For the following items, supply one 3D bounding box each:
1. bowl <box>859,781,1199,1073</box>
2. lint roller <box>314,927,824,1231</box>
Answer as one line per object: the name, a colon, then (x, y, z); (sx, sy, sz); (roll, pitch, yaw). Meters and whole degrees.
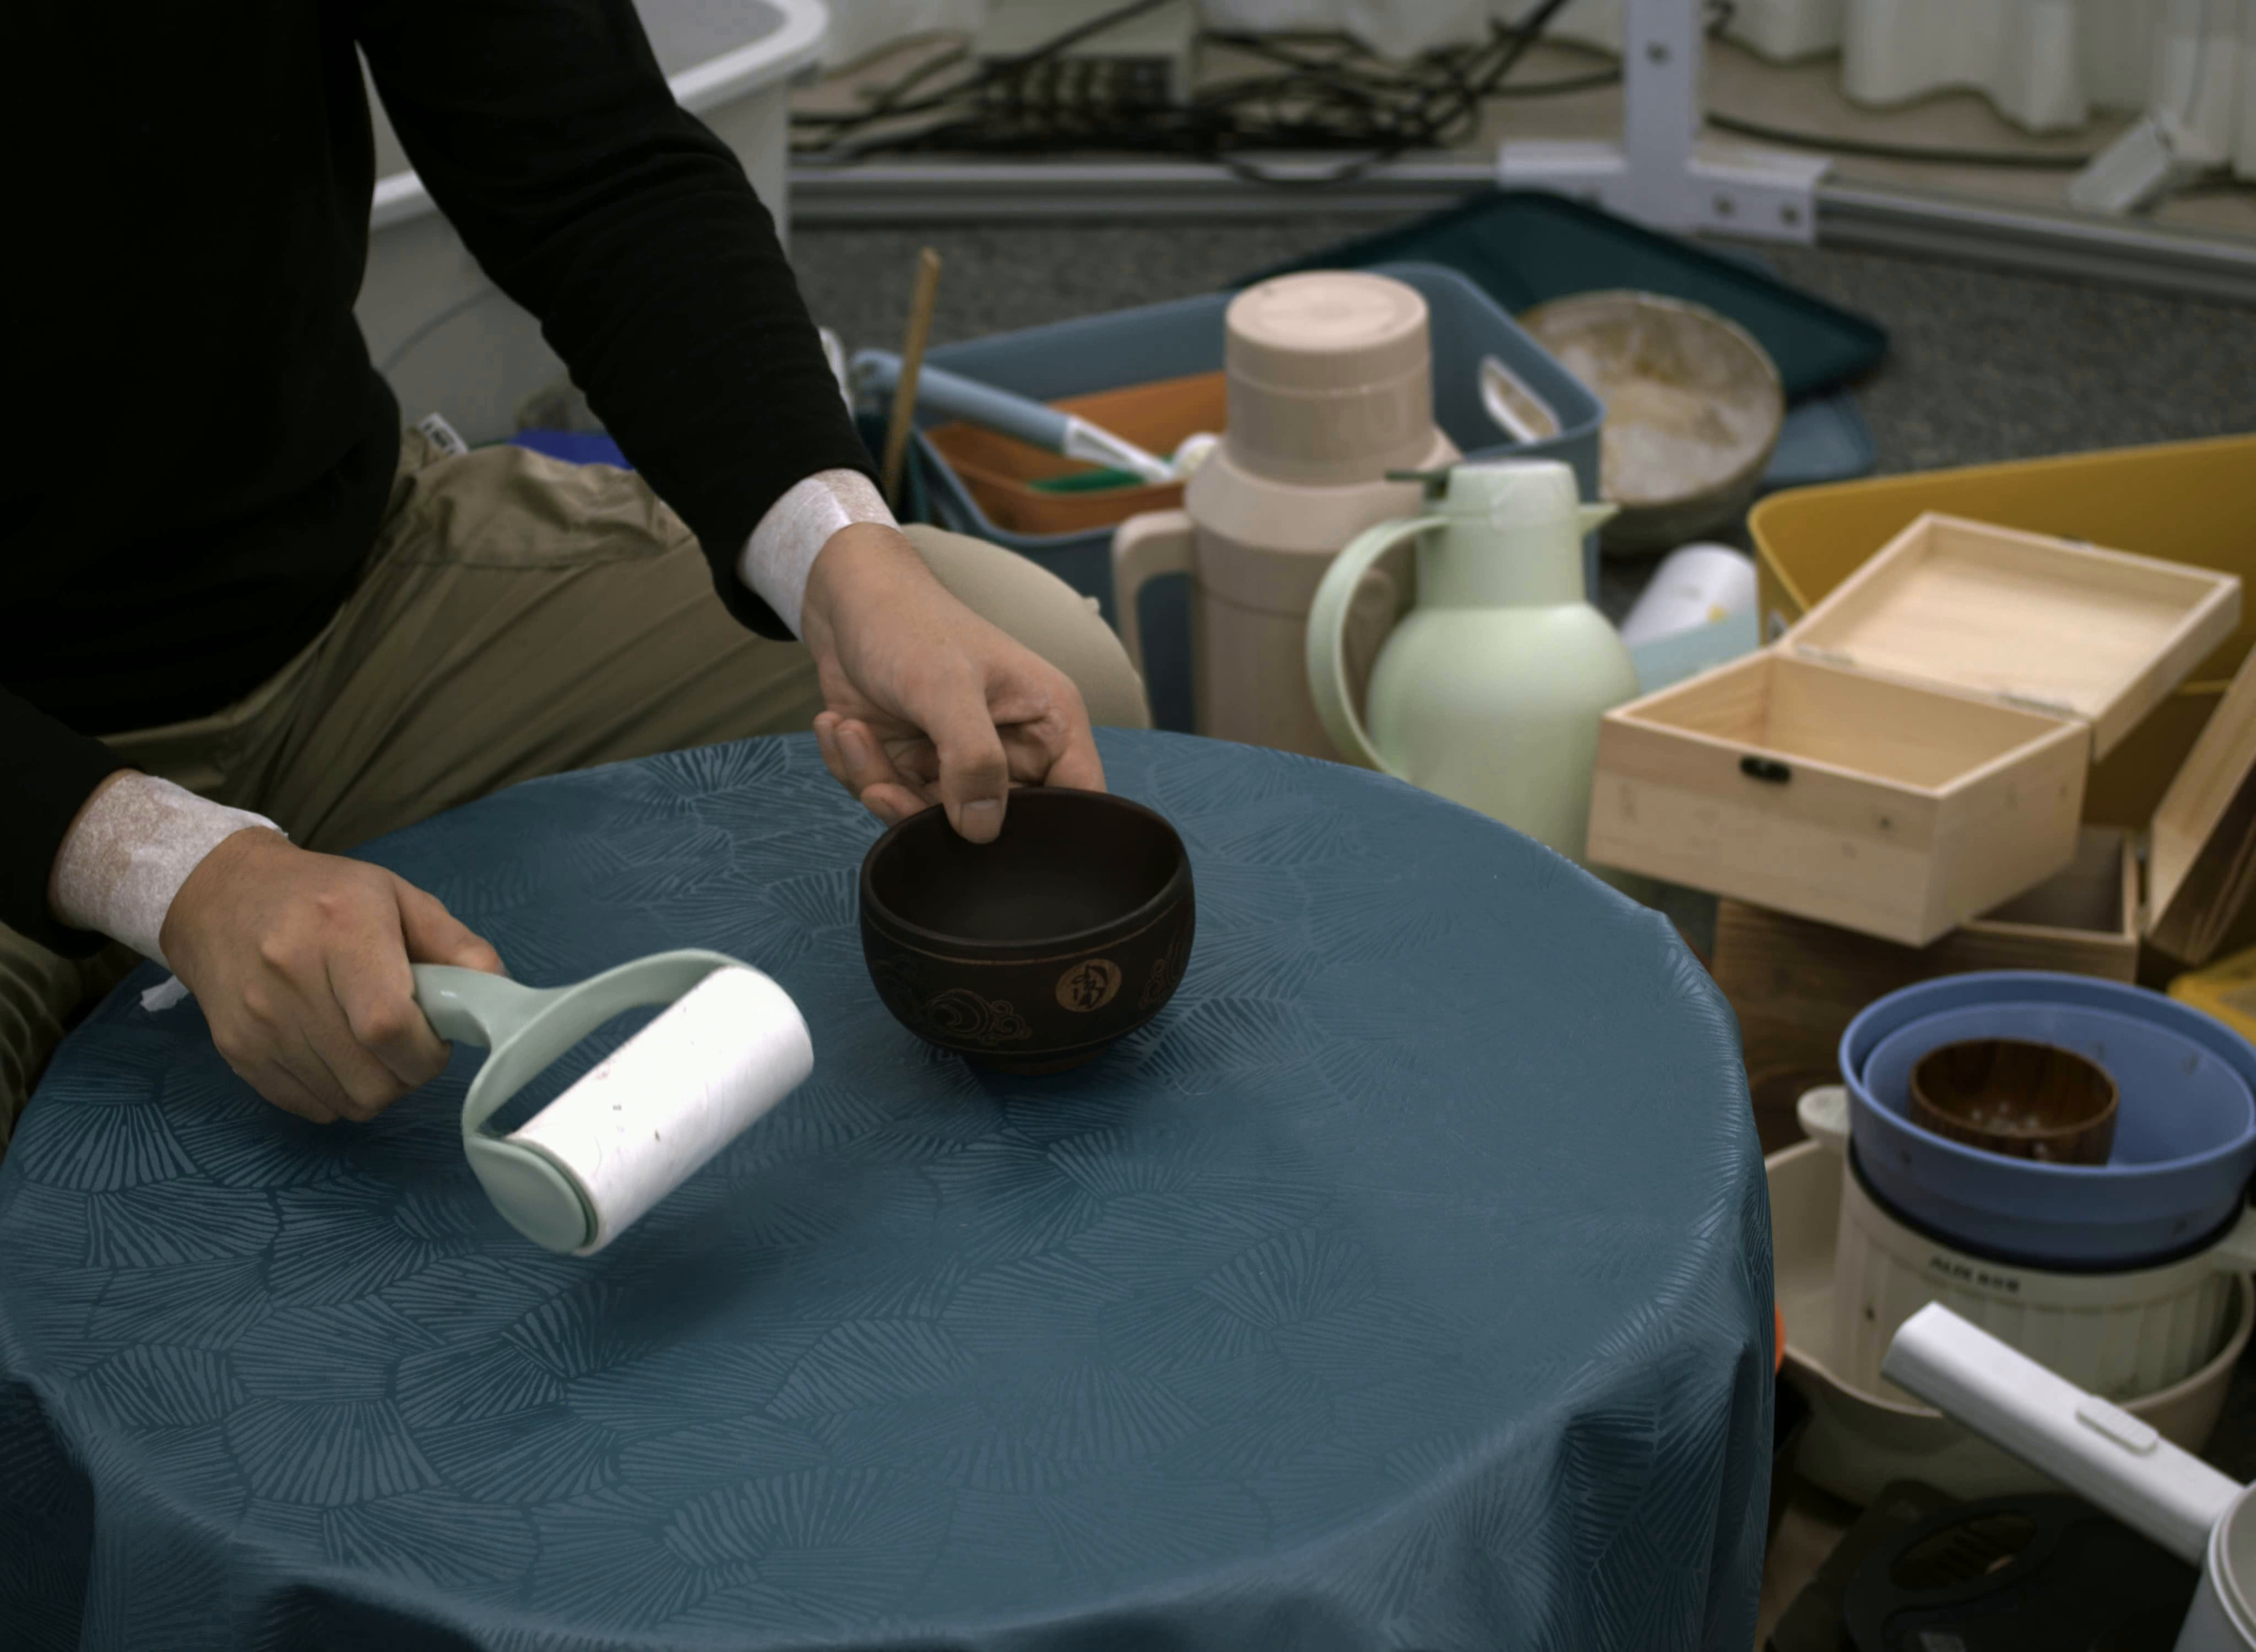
bowl: (-0.033, 0.041, 1.942); (0.117, 0.069, 0.120); (-3, 27, 2)
lint roller: (-0.202, 0.068, 1.858); (0.197, 0.048, 0.118); (16, 44, 39)
